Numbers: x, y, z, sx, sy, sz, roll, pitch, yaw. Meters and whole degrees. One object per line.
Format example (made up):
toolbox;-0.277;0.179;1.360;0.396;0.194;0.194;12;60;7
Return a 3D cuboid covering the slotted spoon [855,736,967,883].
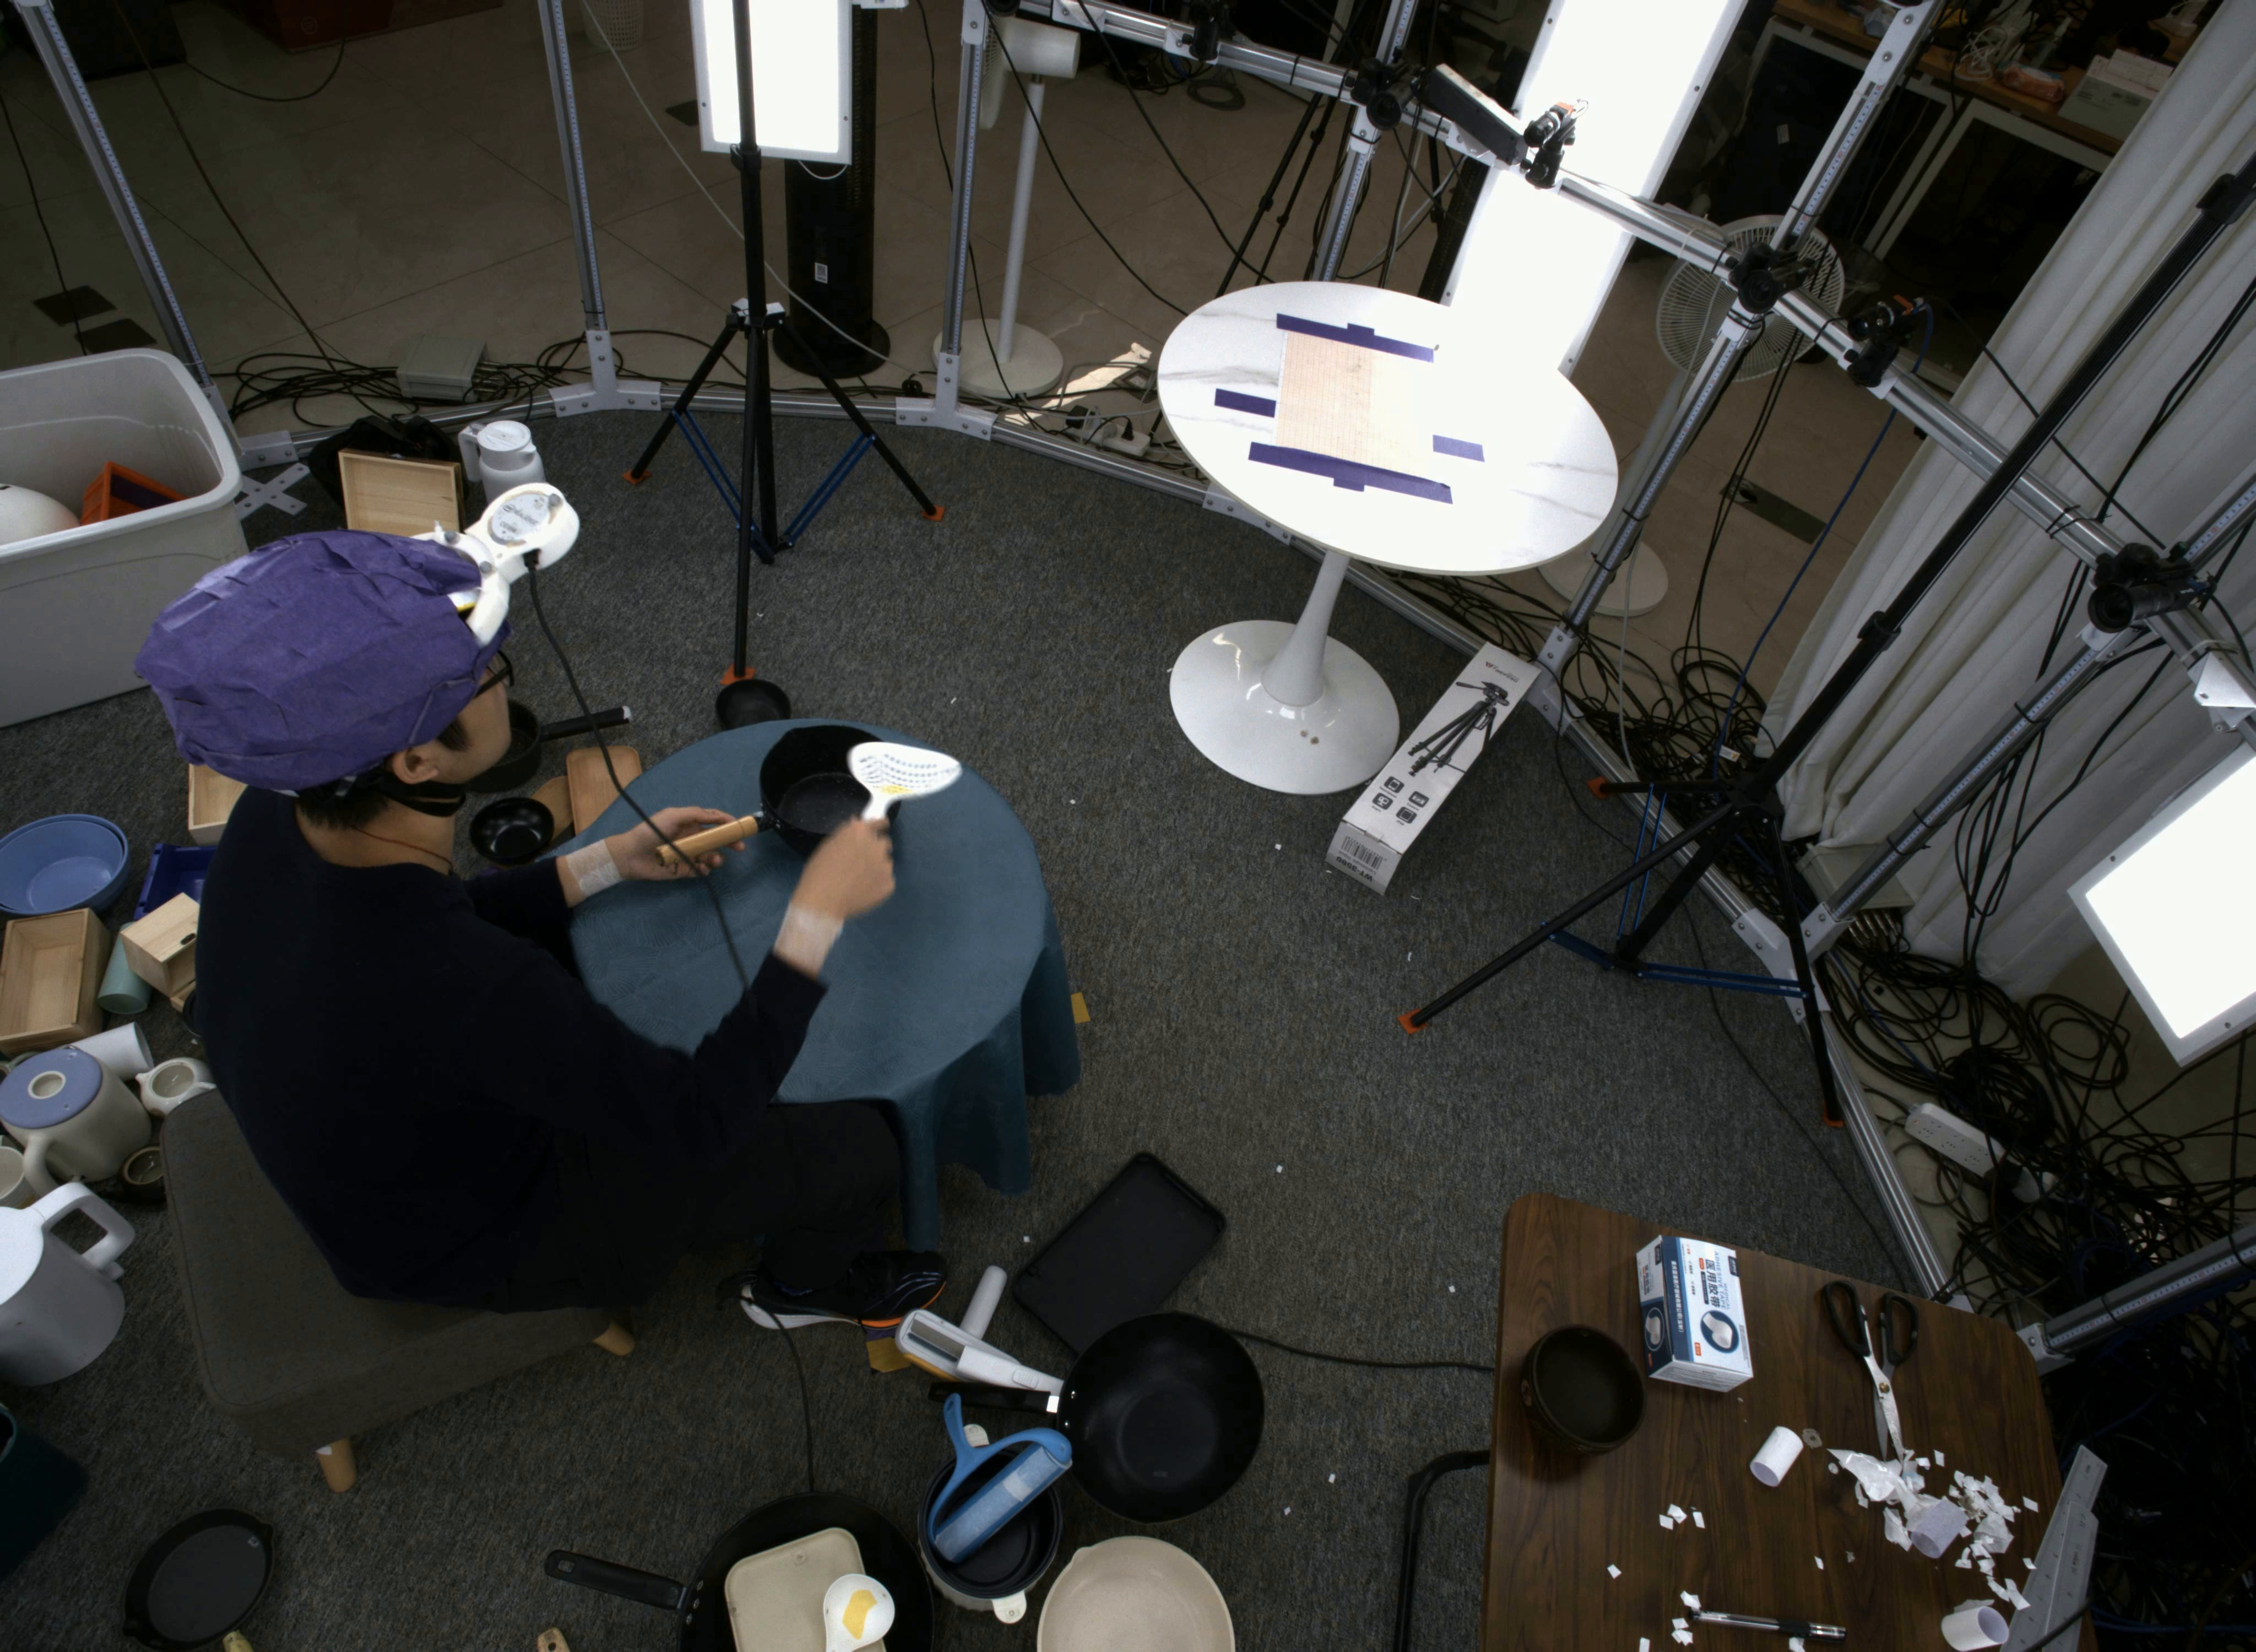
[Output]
slotted spoon;-0.273;-0.026;1.496;0.136;0.051;0.342;13;20;-3

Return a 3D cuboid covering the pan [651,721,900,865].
pan;-0.444;-0.010;1.646;0.344;0.110;0.203;-32;68;-34
